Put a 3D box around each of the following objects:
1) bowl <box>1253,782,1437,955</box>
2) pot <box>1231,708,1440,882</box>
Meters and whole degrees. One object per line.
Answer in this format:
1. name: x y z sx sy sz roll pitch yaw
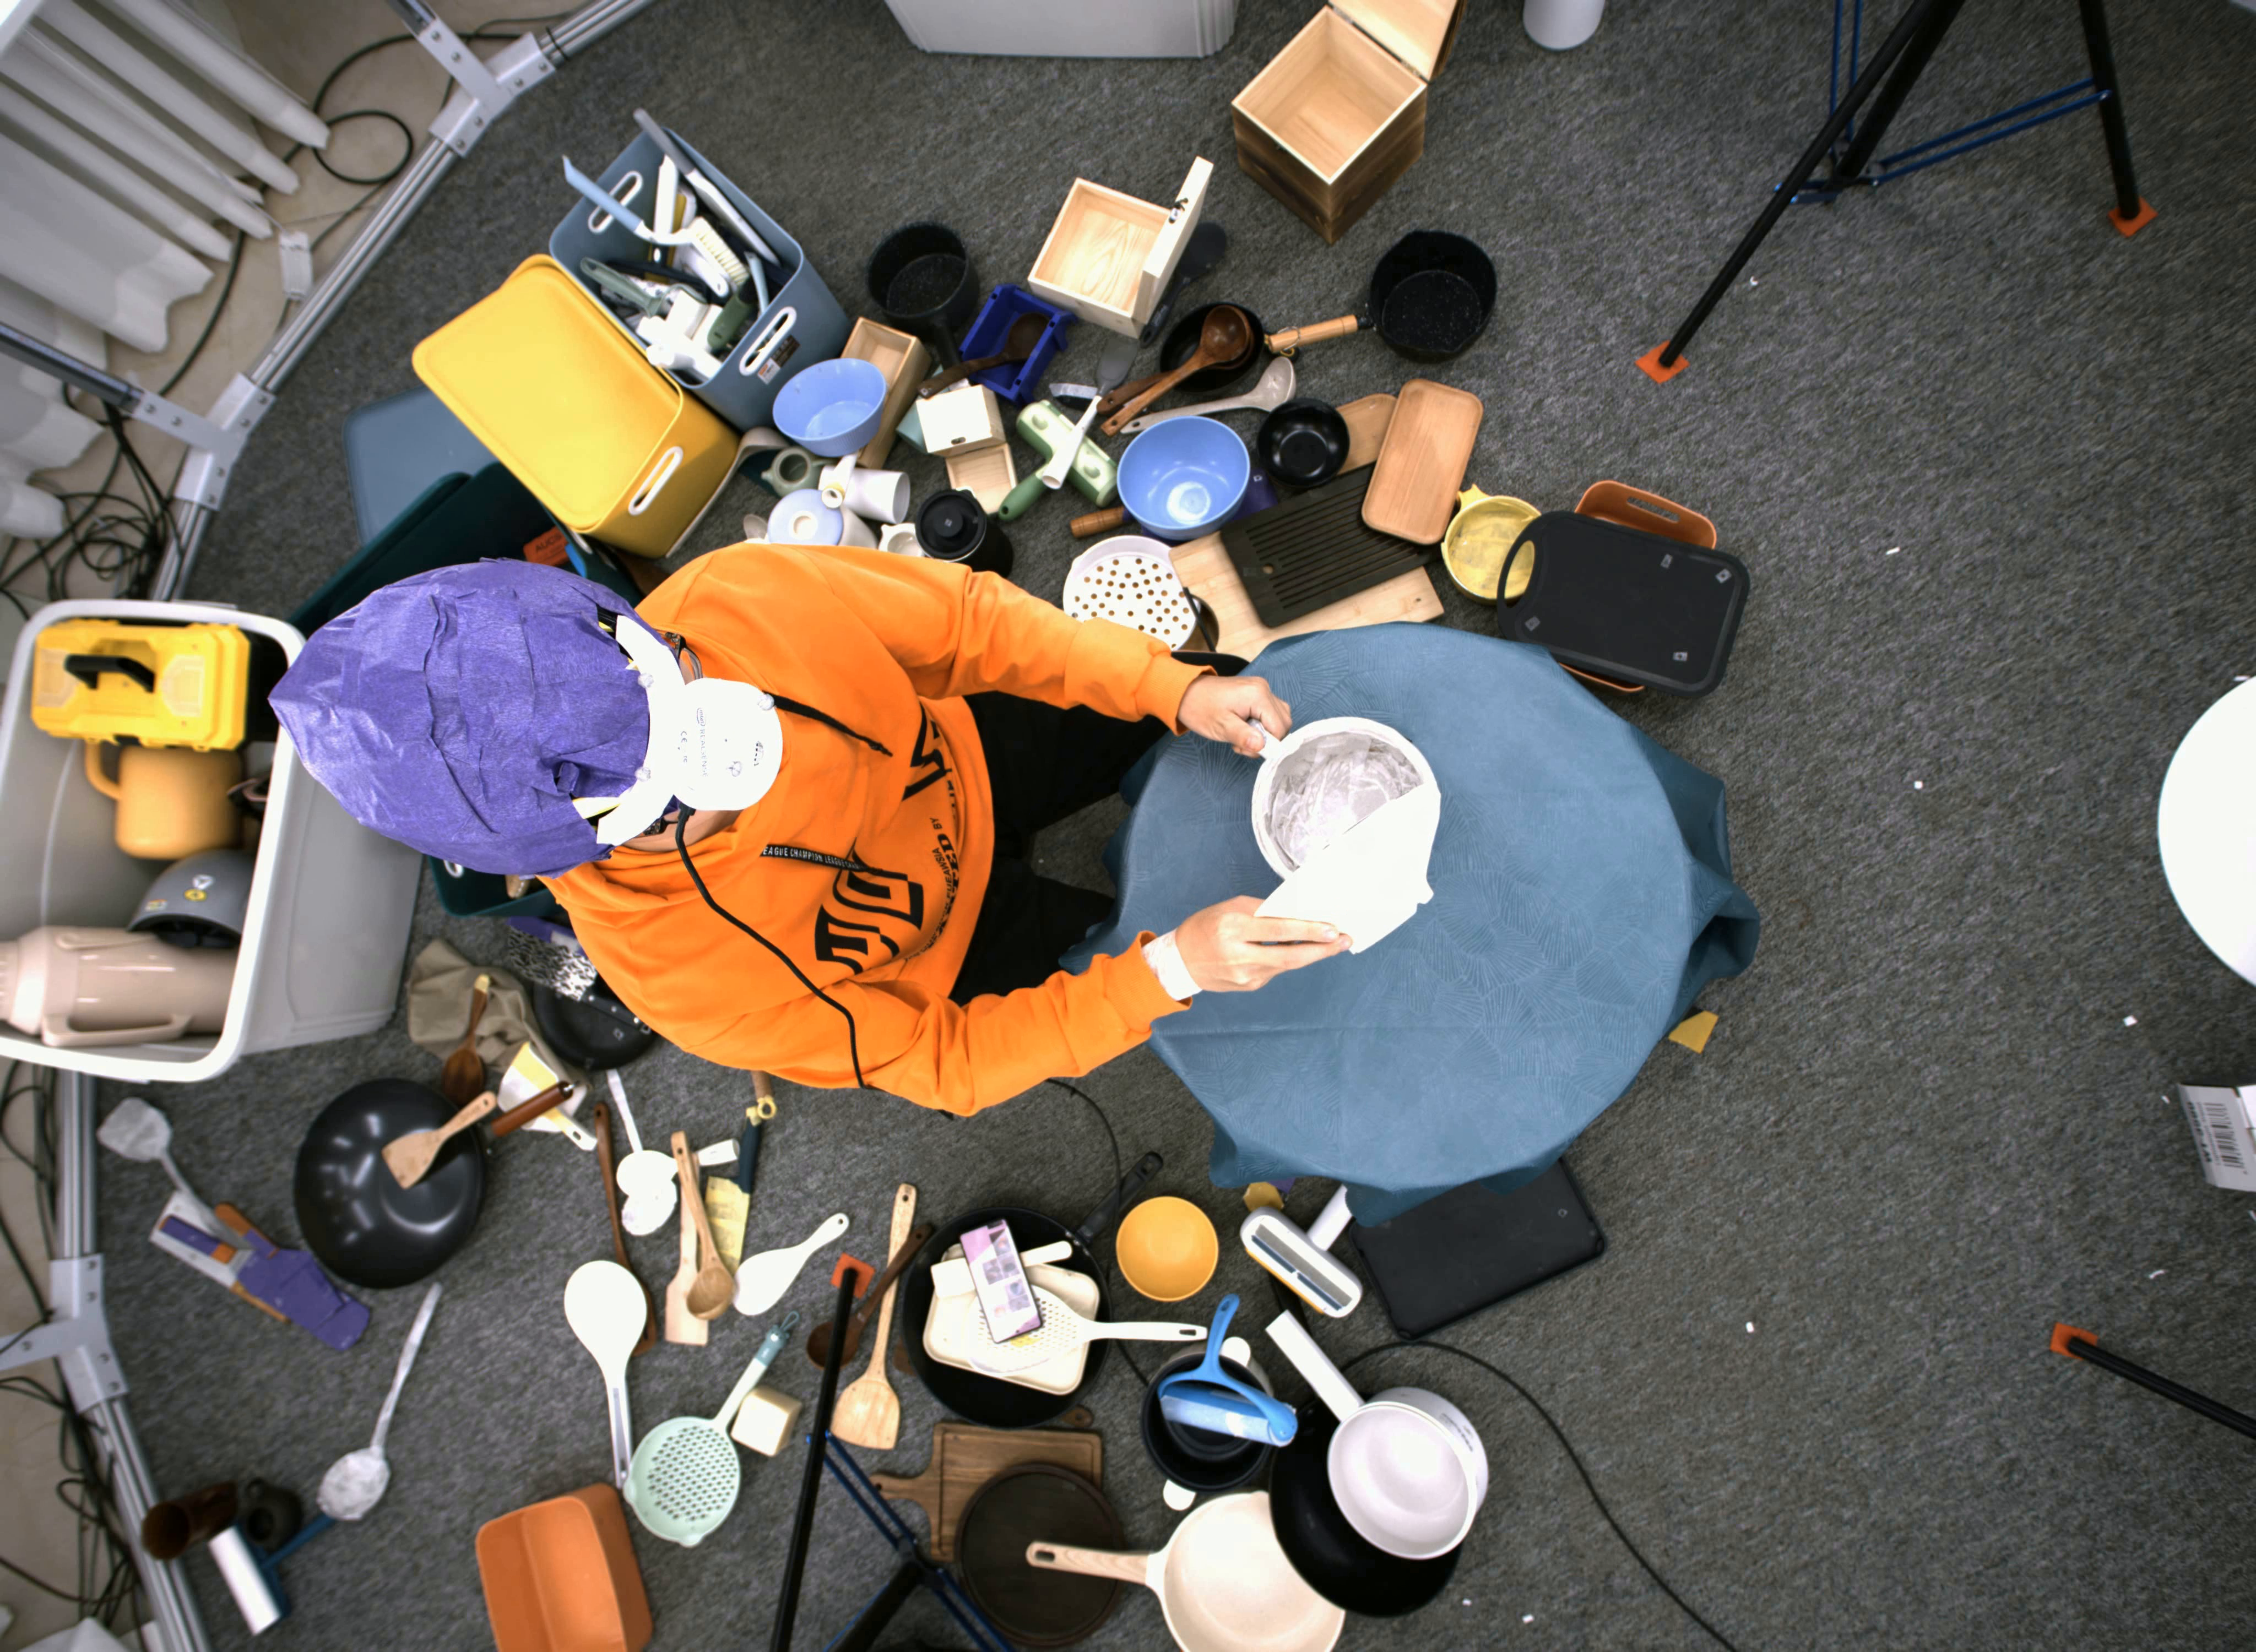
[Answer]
1. bowl: 0.212 0.056 1.210 0.205 0.205 0.077 -39 74 5
2. pot: 0.196 -0.036 1.369 0.233 0.135 0.180 38 101 7
